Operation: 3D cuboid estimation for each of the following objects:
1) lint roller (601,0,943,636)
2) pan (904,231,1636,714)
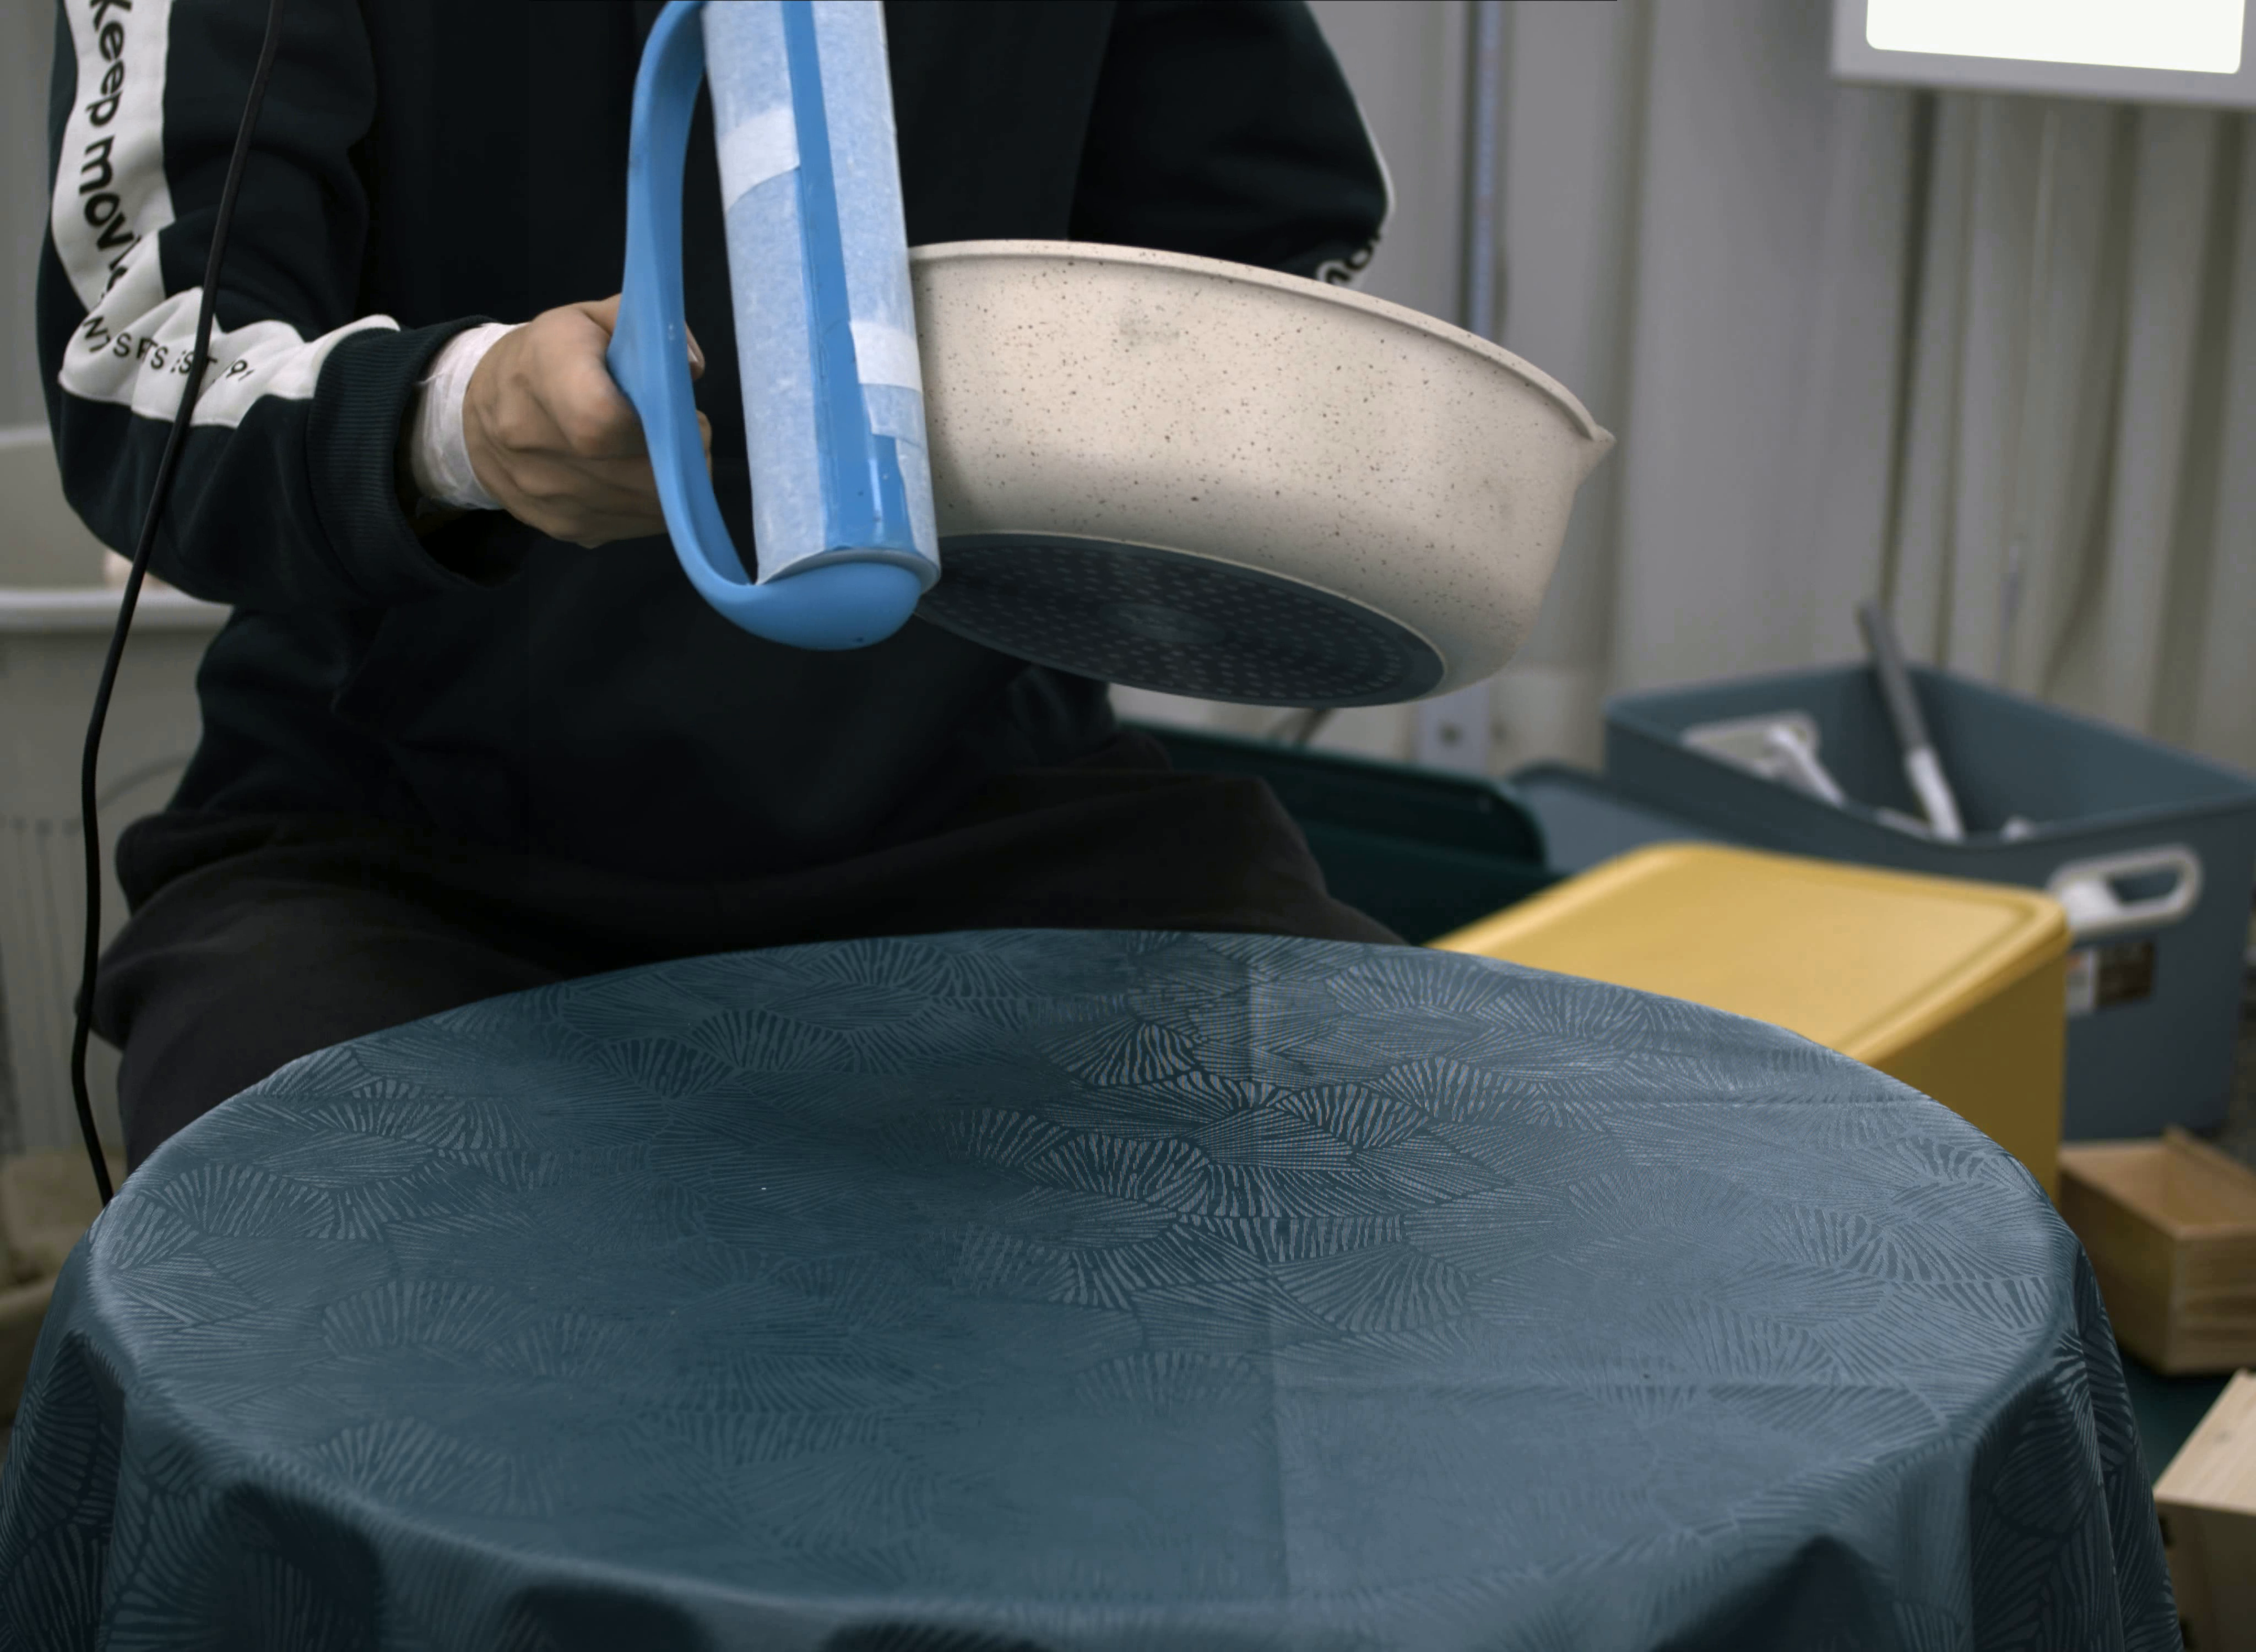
[{"bbox_3d":[-0.126,-0.143,1.608,0.068,0.228,0.179,6,-25,-36],"label":"lint roller"},{"bbox_3d":[0.033,-0.088,1.745,0.262,0.102,0.437,8,-13,6],"label":"pan"}]
